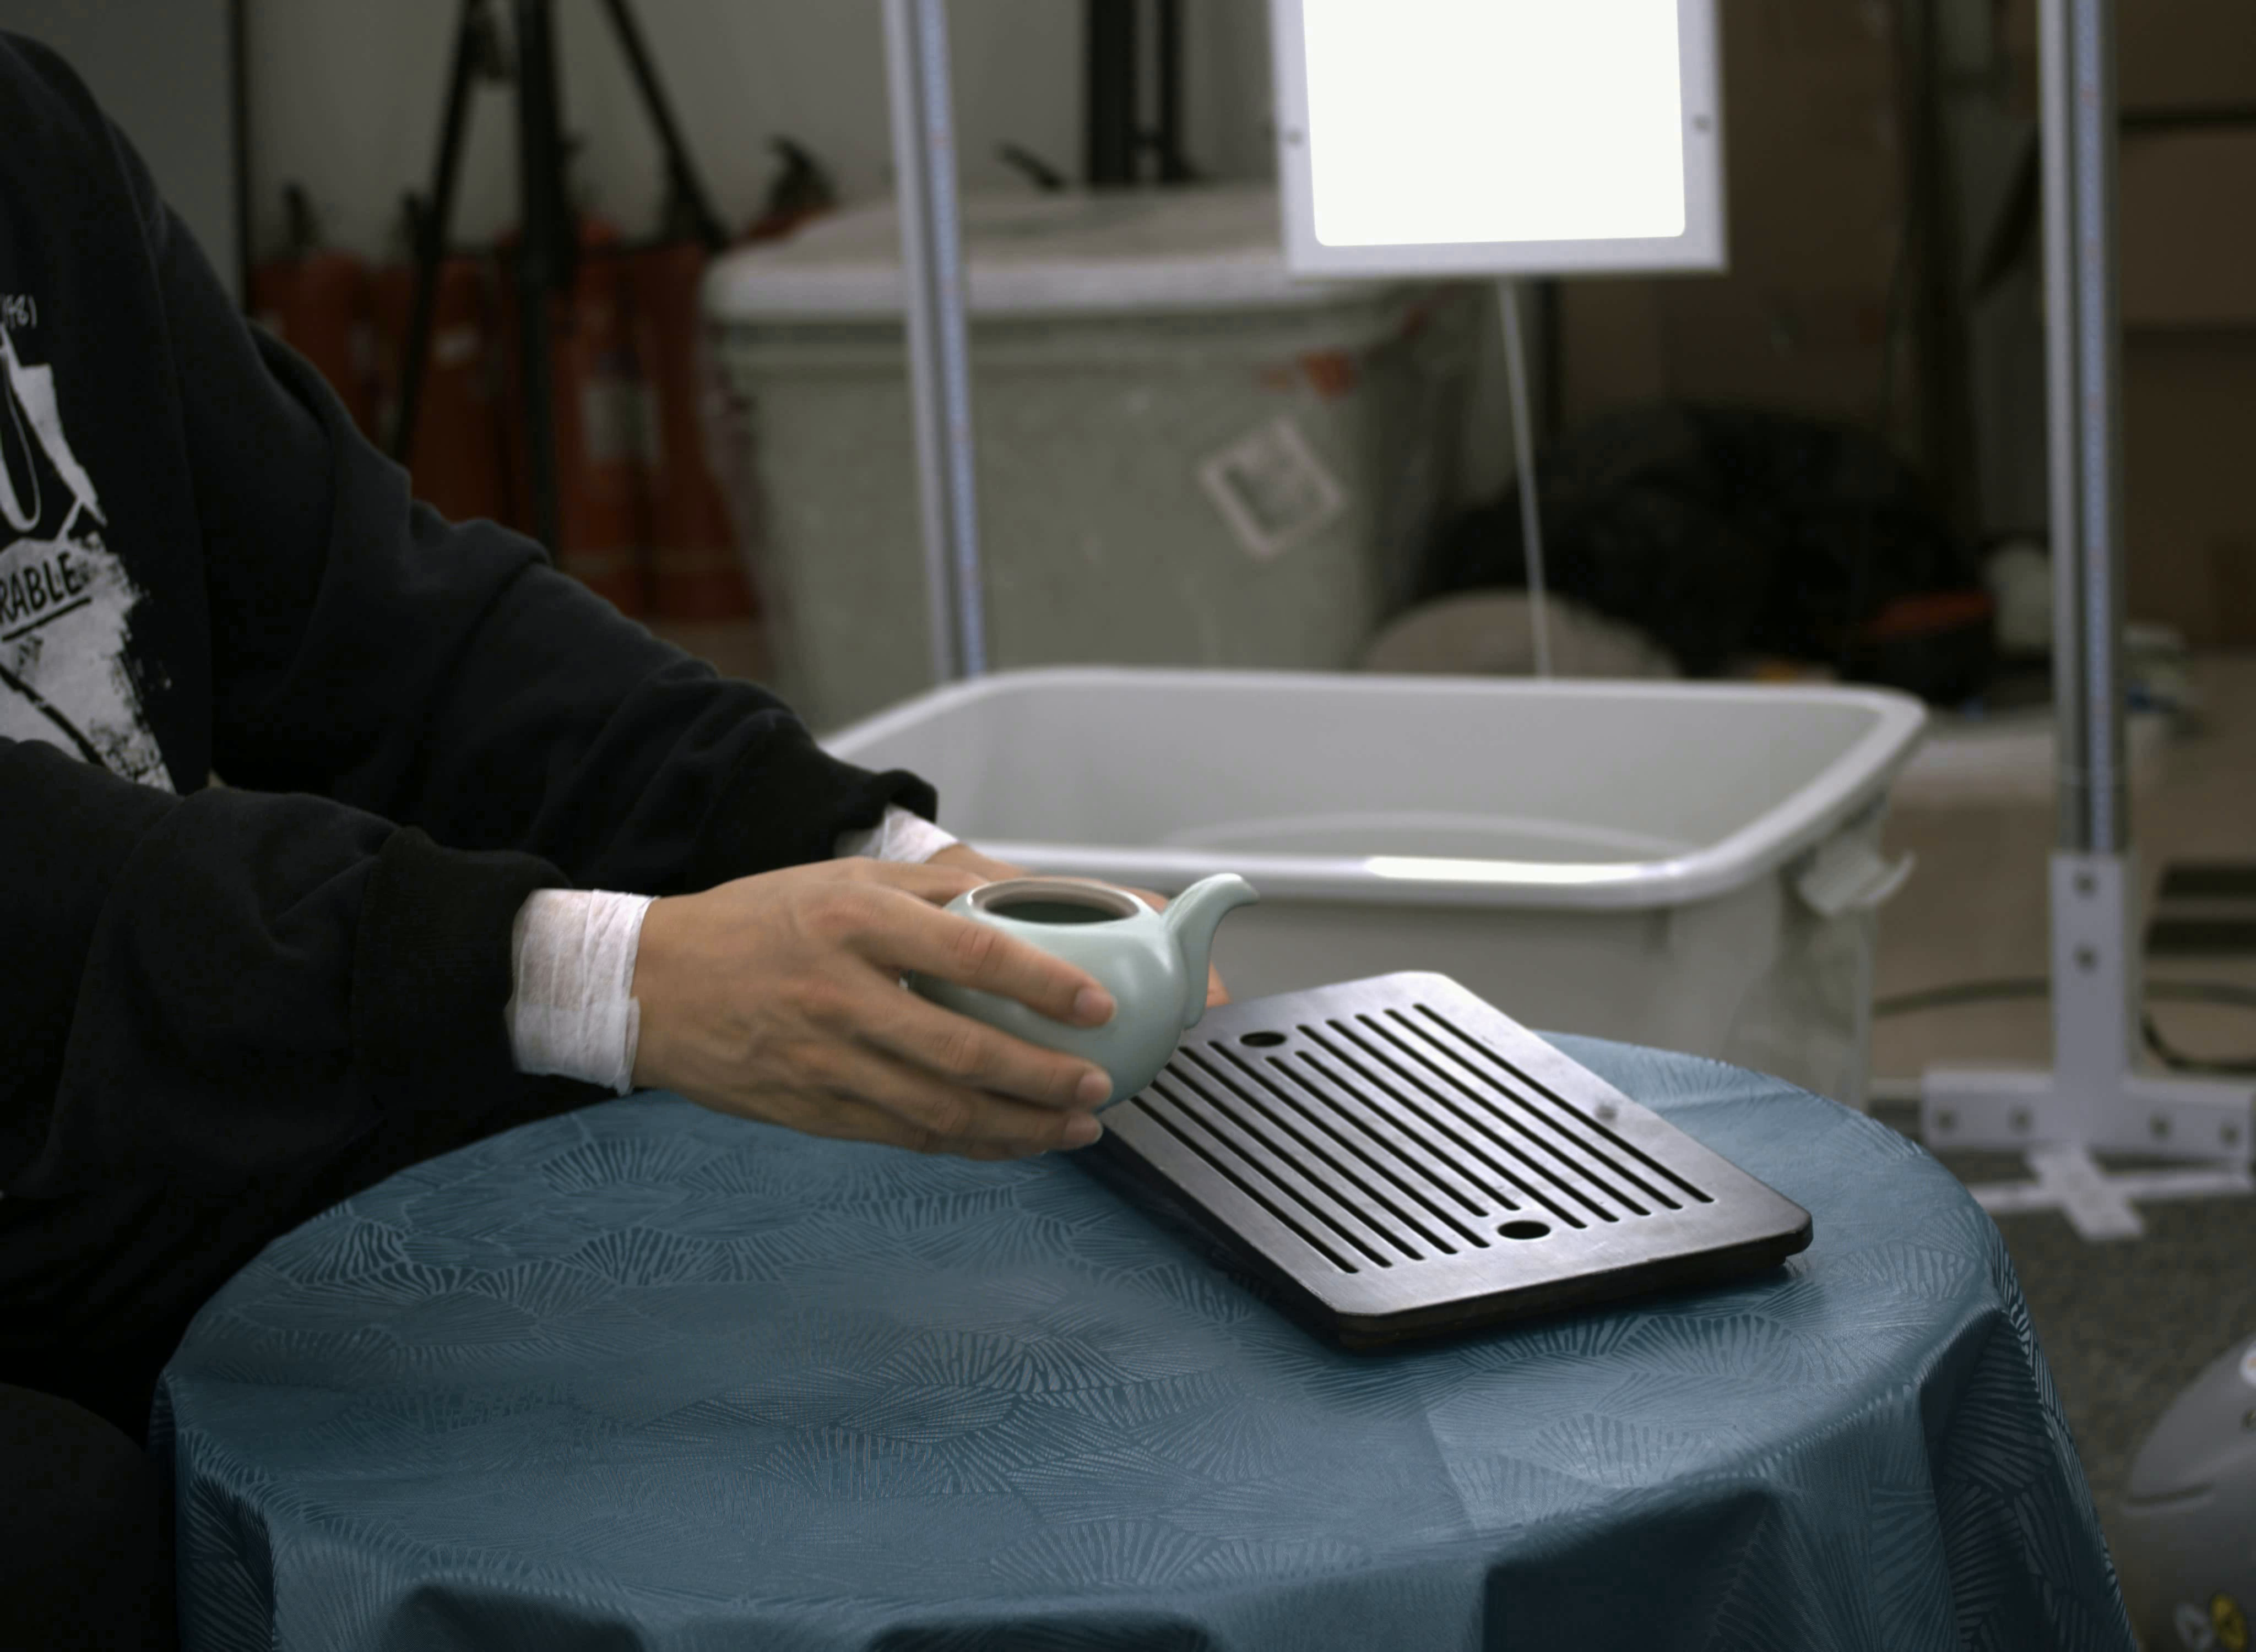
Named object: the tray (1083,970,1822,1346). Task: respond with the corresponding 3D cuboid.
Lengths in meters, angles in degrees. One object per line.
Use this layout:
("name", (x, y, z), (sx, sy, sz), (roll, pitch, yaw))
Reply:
("tray", (0.094, 0.109, 1.866), (0.167, 0.019, 0.310), (-10, 18, -19))

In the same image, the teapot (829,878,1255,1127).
("teapot", (-0.028, 0.054, 1.732), (0.141, 0.075, 0.089), (0, 15, -21))
